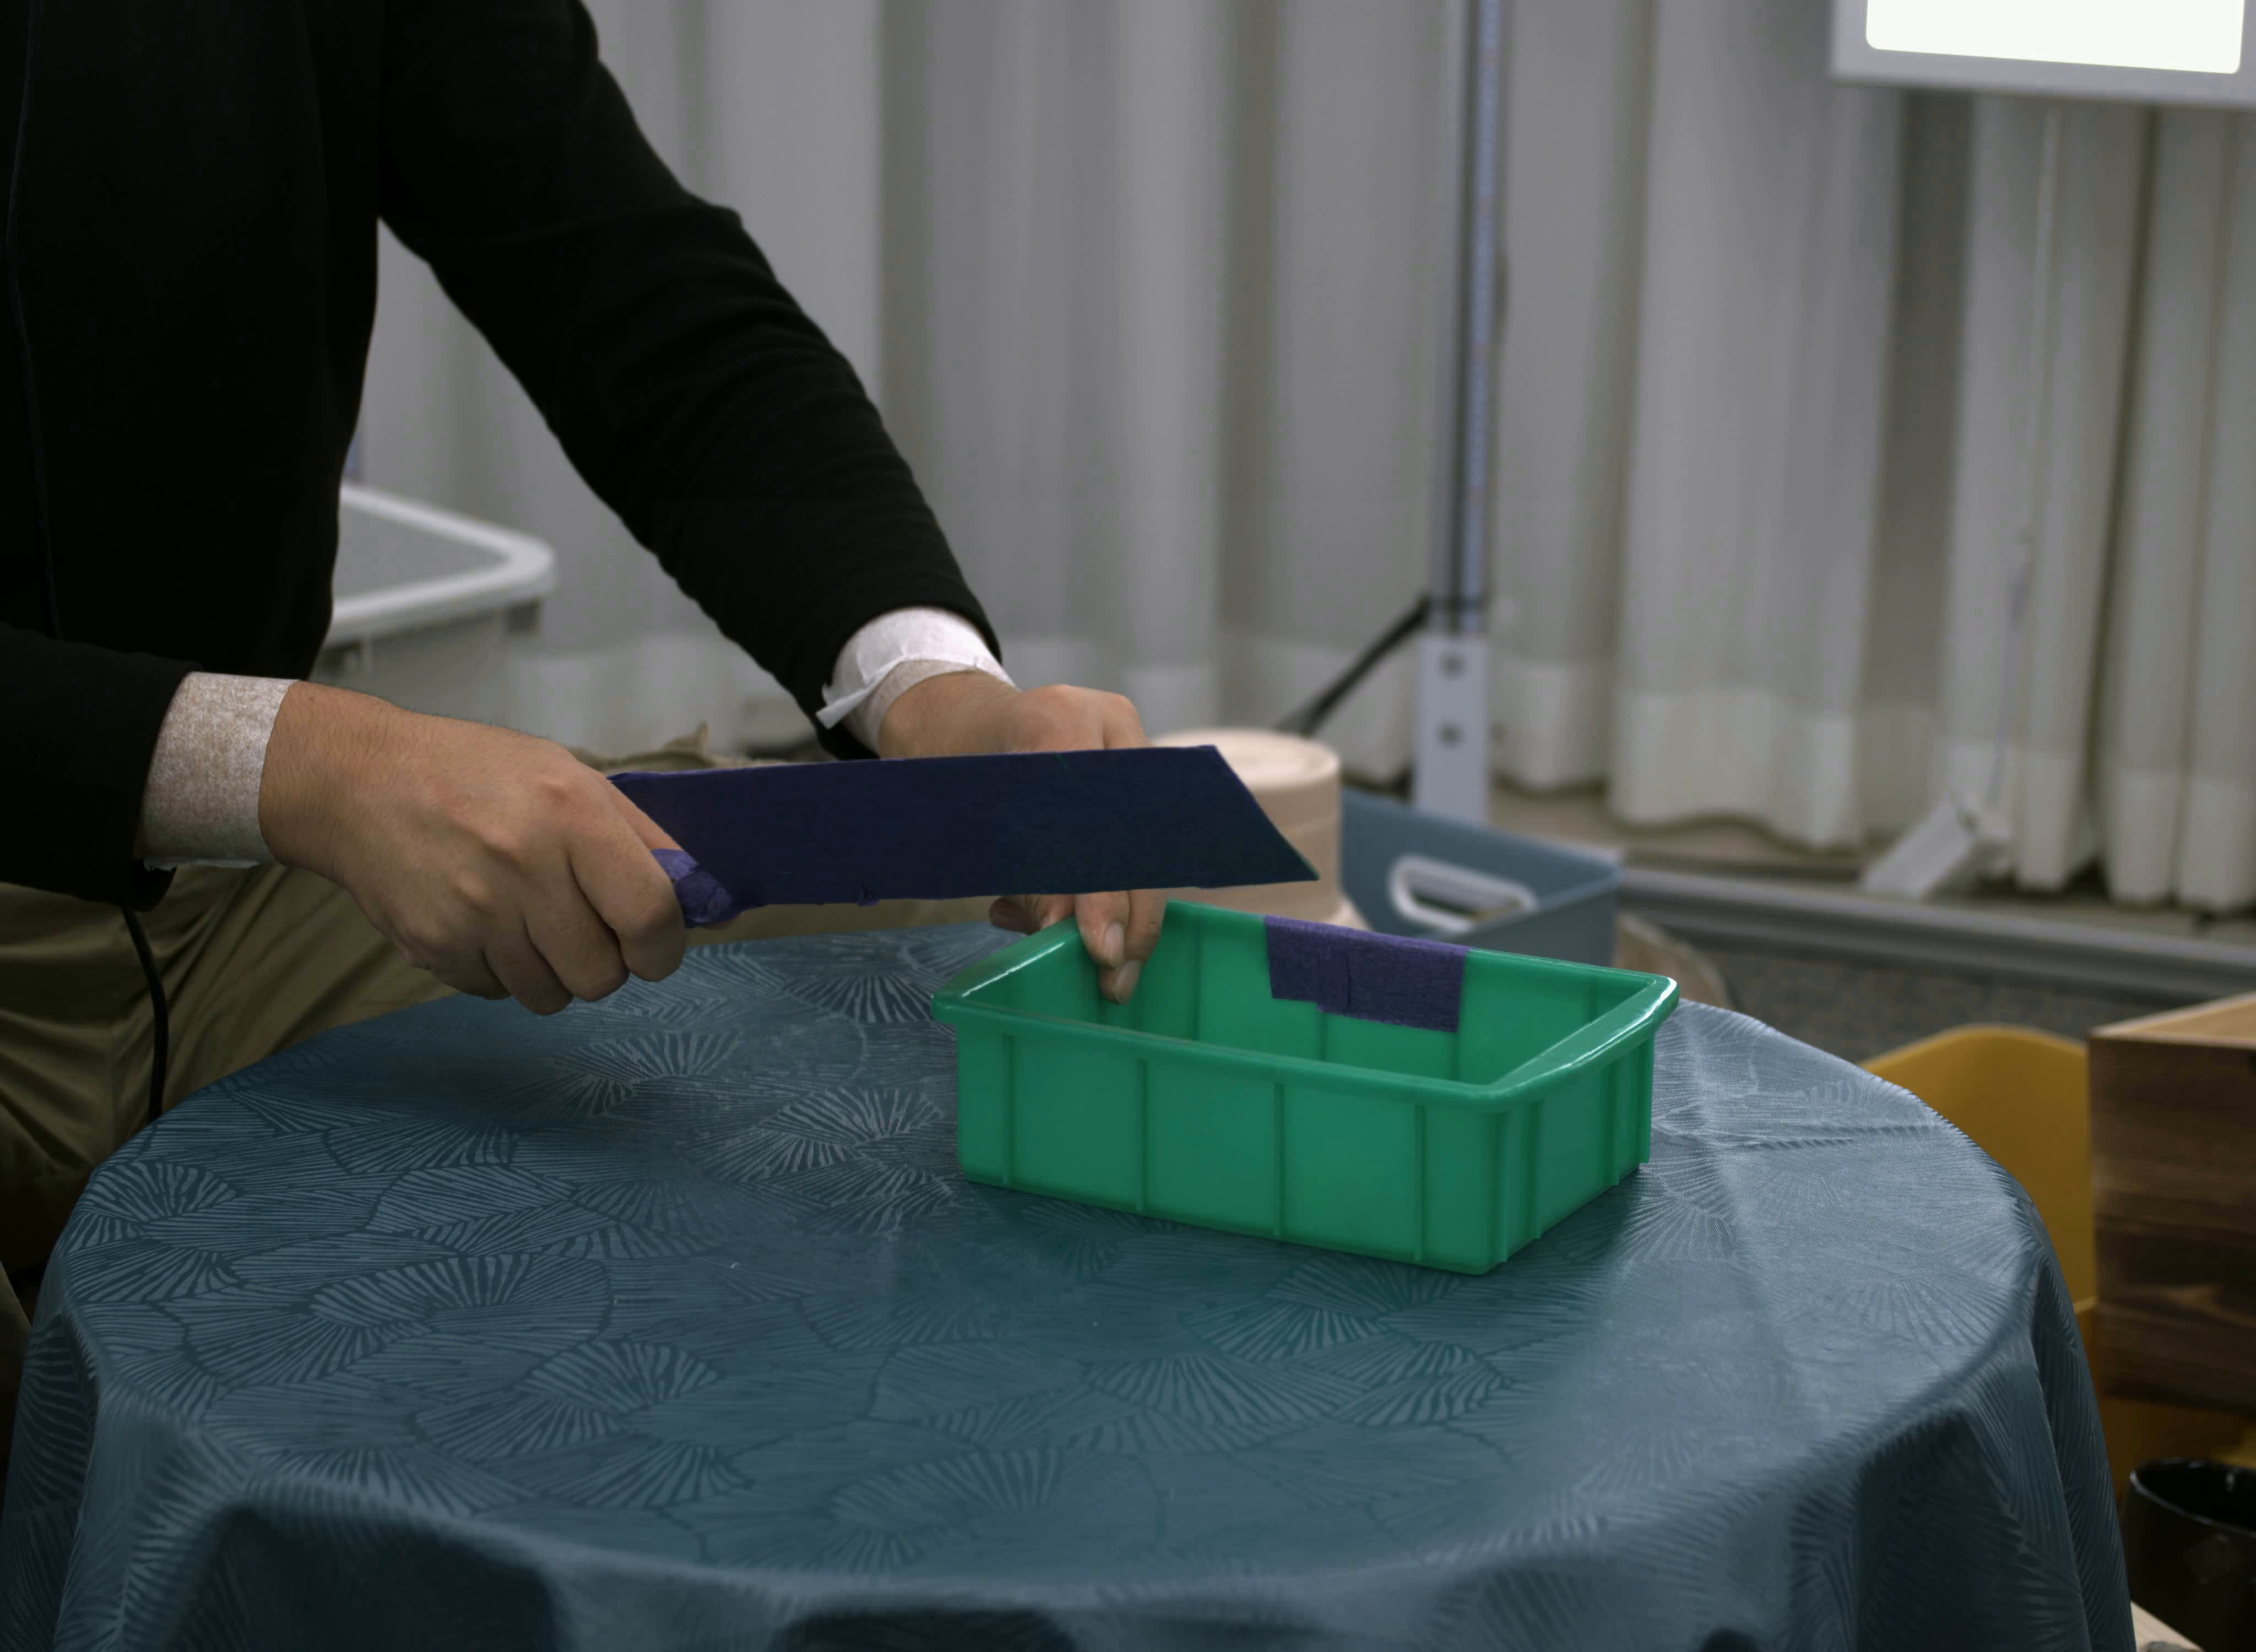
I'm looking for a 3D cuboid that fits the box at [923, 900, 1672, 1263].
[{"bbox_3d":[0.053,0.078,1.629,0.208,0.066,0.139,6,15,27],"label":"box"}]

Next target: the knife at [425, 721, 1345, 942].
[{"bbox_3d":[-0.092,-0.001,1.630,0.312,0.032,0.105,-4,-29,23],"label":"knife"}]
